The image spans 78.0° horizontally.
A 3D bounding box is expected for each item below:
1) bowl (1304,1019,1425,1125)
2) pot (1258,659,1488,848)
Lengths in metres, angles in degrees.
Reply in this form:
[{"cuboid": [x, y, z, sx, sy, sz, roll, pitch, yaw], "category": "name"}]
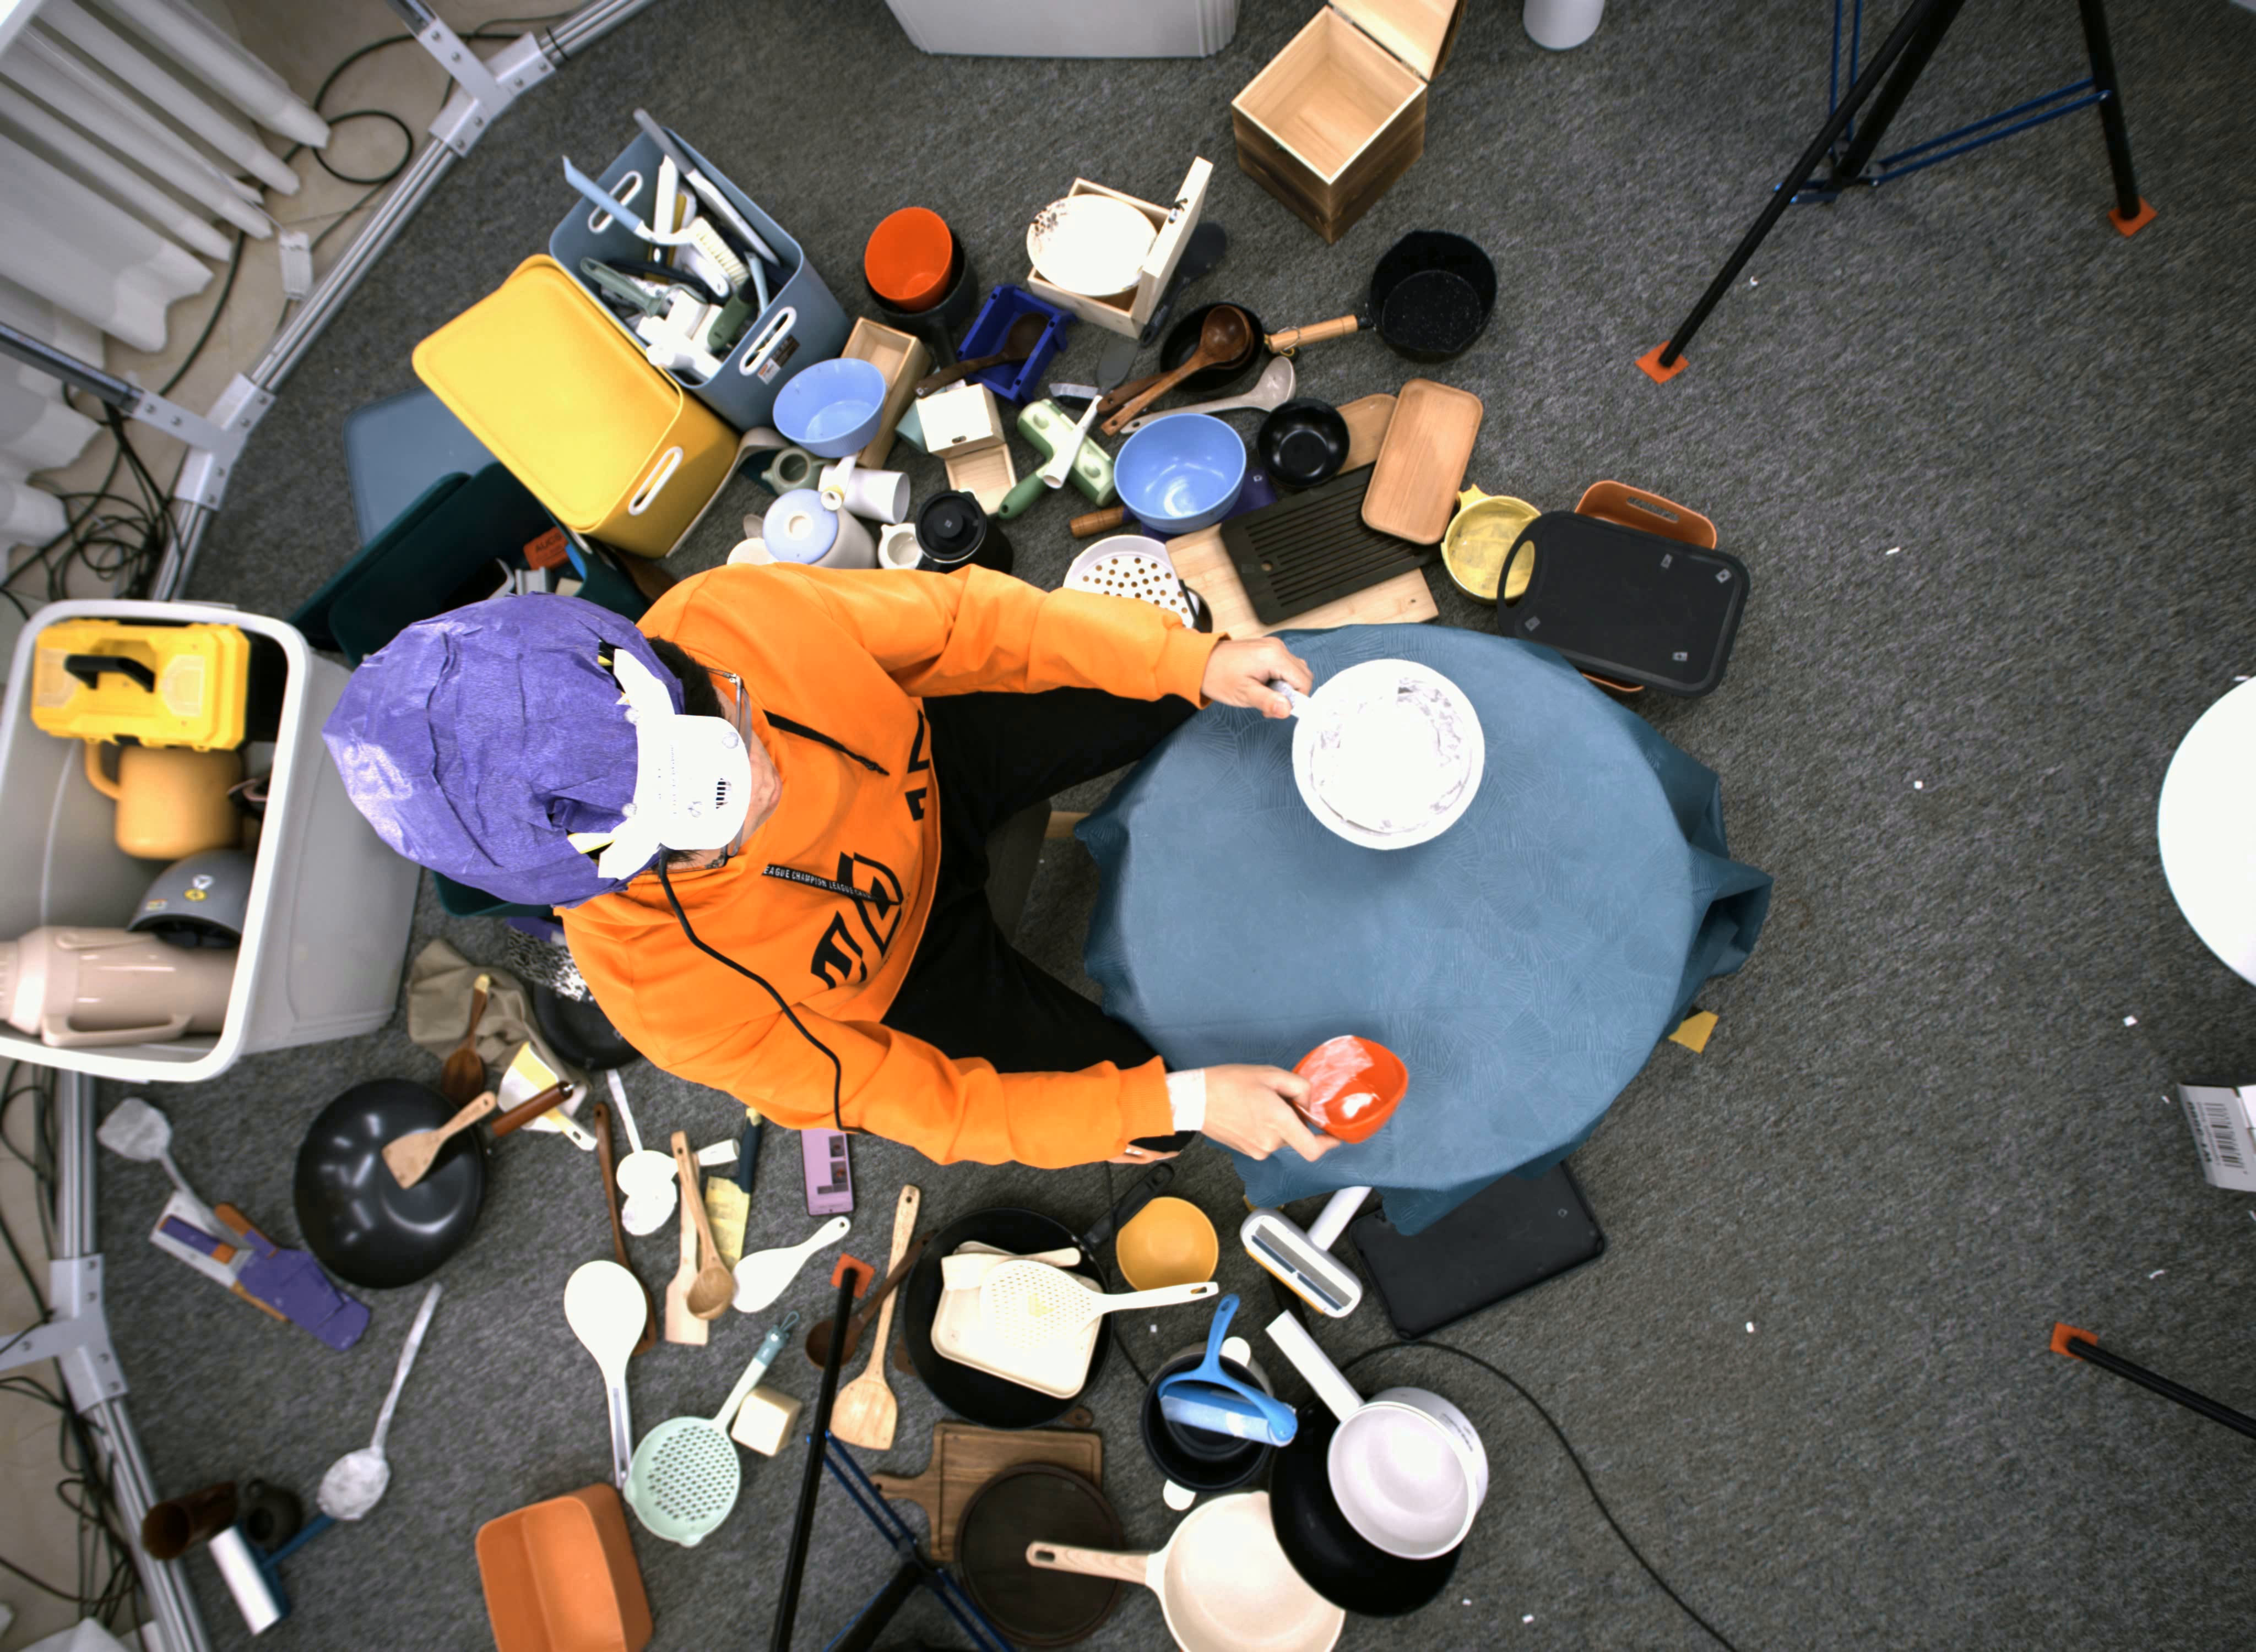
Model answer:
[{"cuboid": [0.229, 0.248, 1.359, 0.119, 0.052, 0.116, 0, 43, -1], "category": "bowl"}, {"cuboid": [0.231, -0.085, 1.345, 0.233, 0.135, 0.180, 28, 100, 7], "category": "pot"}]
